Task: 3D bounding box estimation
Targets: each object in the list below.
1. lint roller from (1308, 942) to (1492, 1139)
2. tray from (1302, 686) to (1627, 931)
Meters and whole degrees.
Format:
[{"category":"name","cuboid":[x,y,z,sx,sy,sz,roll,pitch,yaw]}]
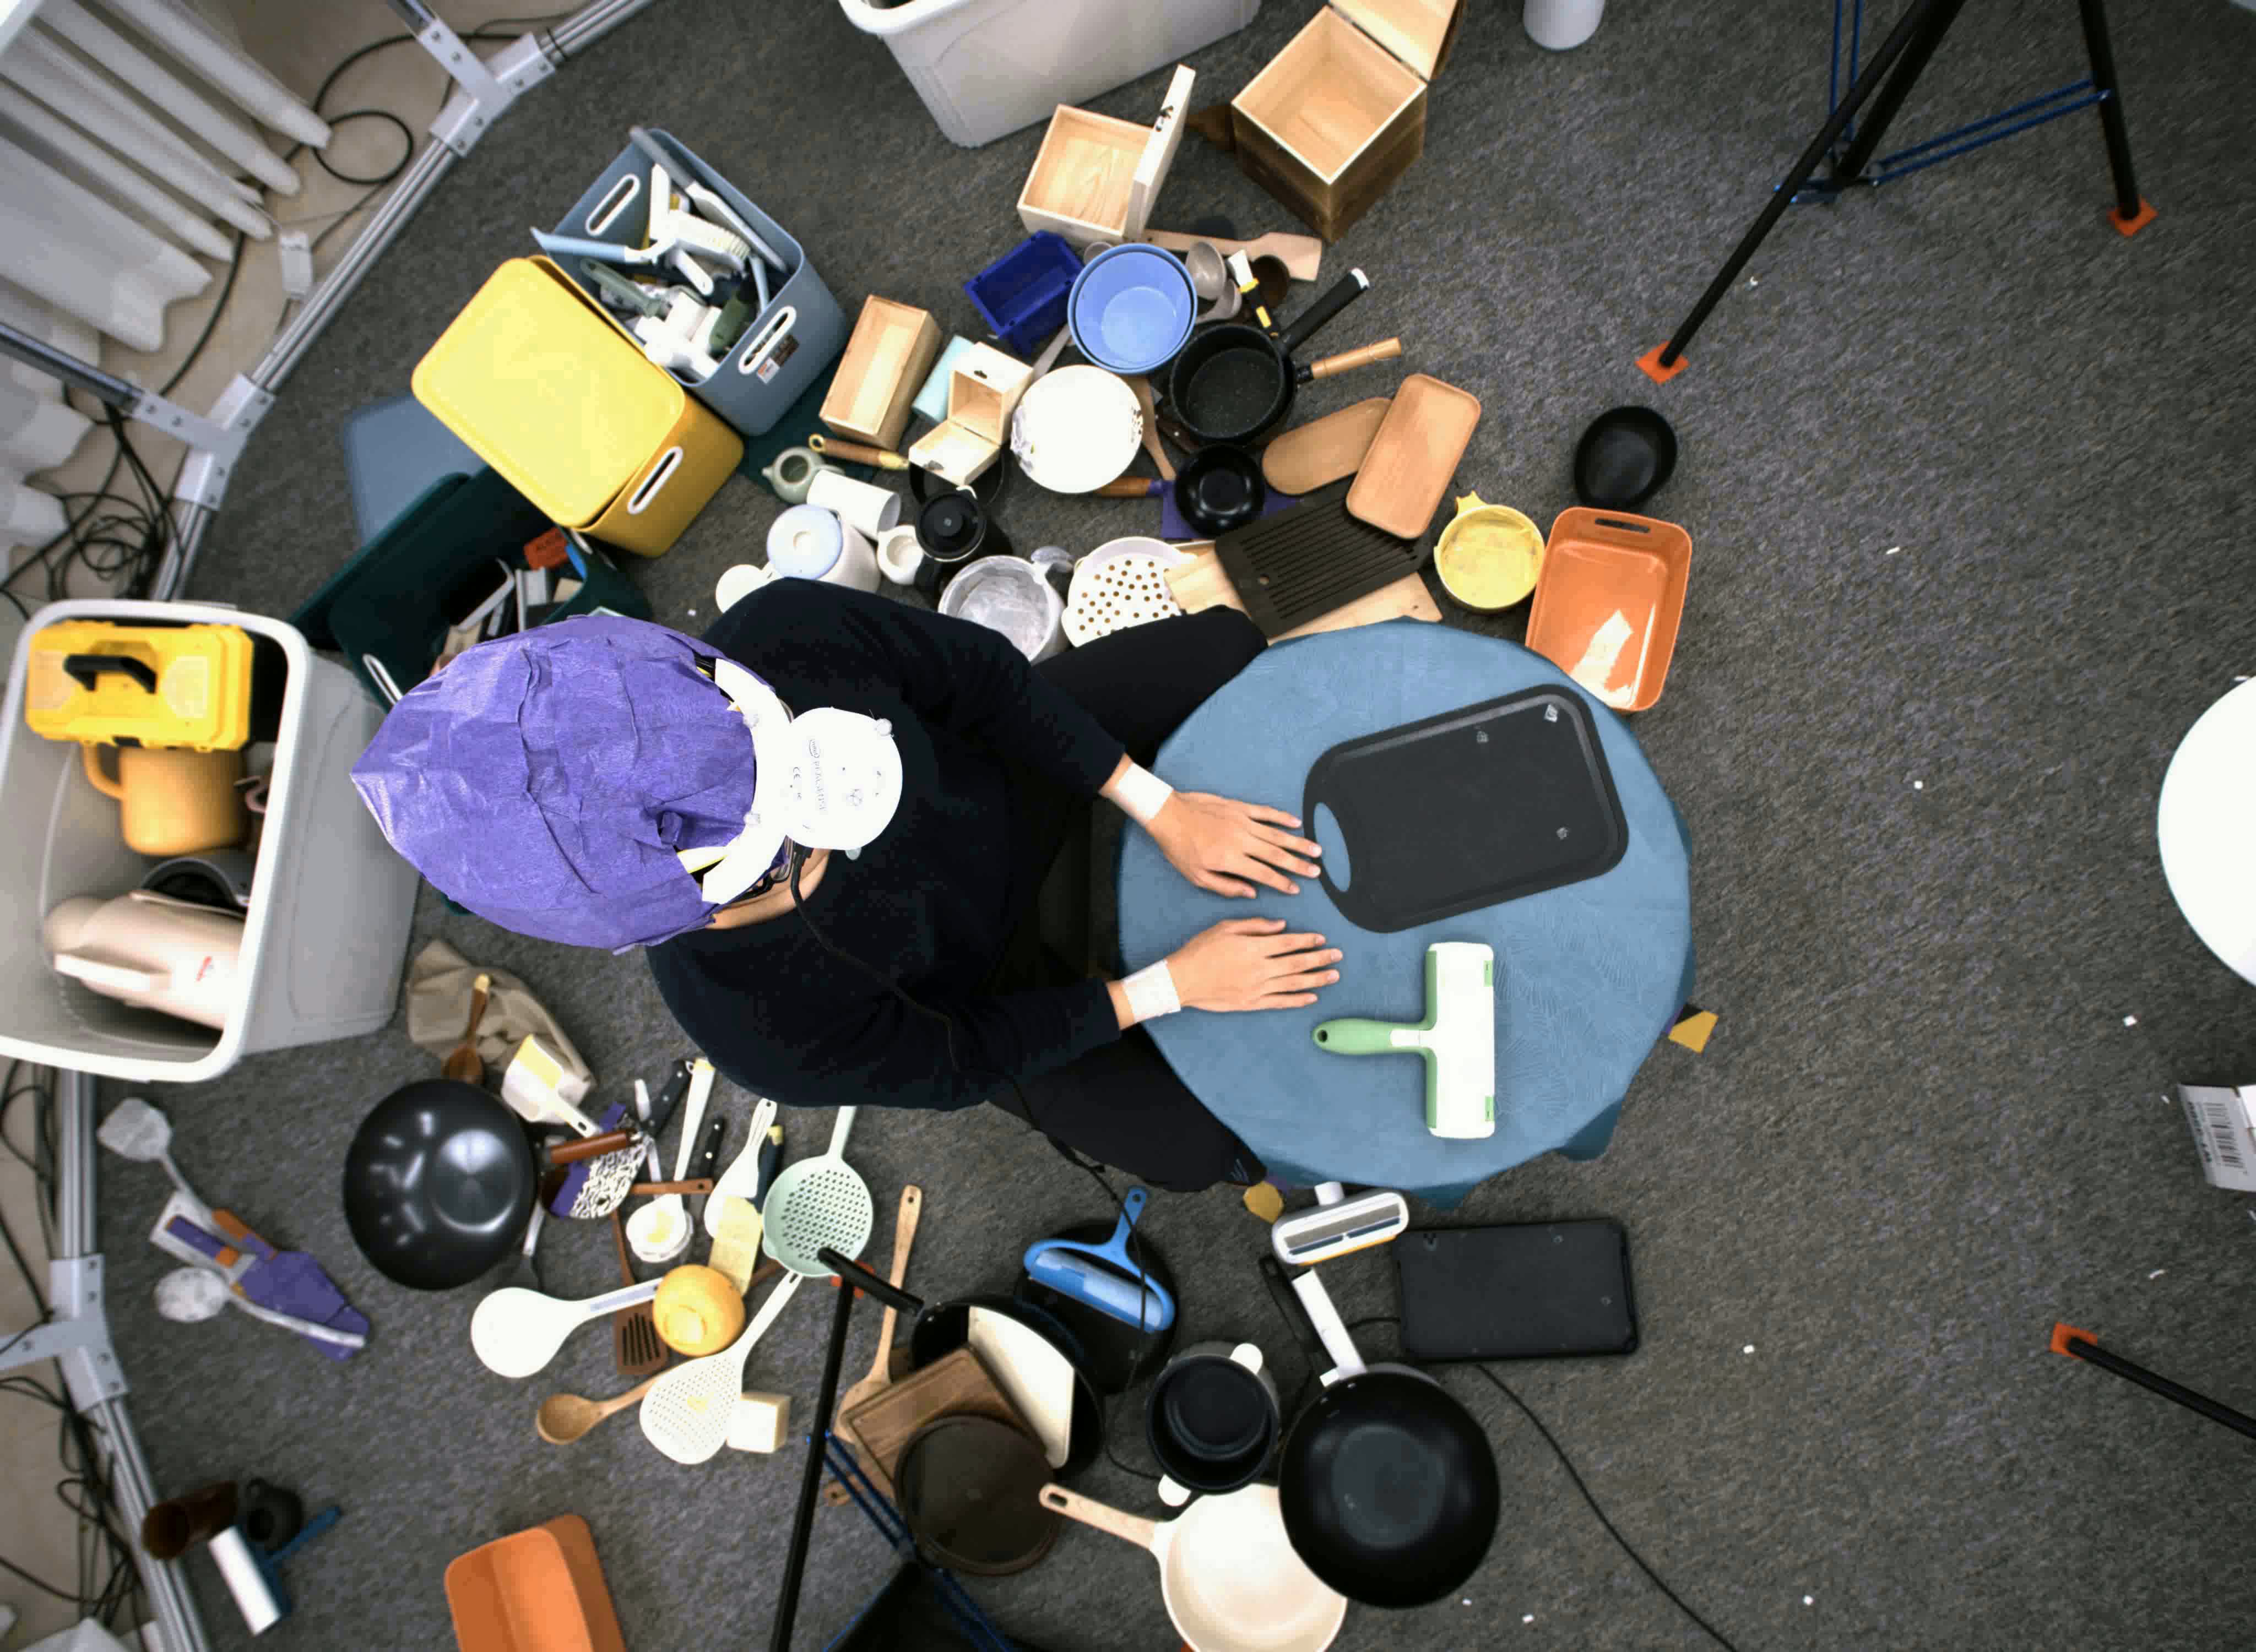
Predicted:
[{"category":"lint roller","cuboid":[0.277,0.215,1.407,0.184,0.082,0.197,0,85,4]},{"category":"tray","cuboid":[0.347,-0.017,1.447,0.327,0.010,0.210,-16,84,9]}]
